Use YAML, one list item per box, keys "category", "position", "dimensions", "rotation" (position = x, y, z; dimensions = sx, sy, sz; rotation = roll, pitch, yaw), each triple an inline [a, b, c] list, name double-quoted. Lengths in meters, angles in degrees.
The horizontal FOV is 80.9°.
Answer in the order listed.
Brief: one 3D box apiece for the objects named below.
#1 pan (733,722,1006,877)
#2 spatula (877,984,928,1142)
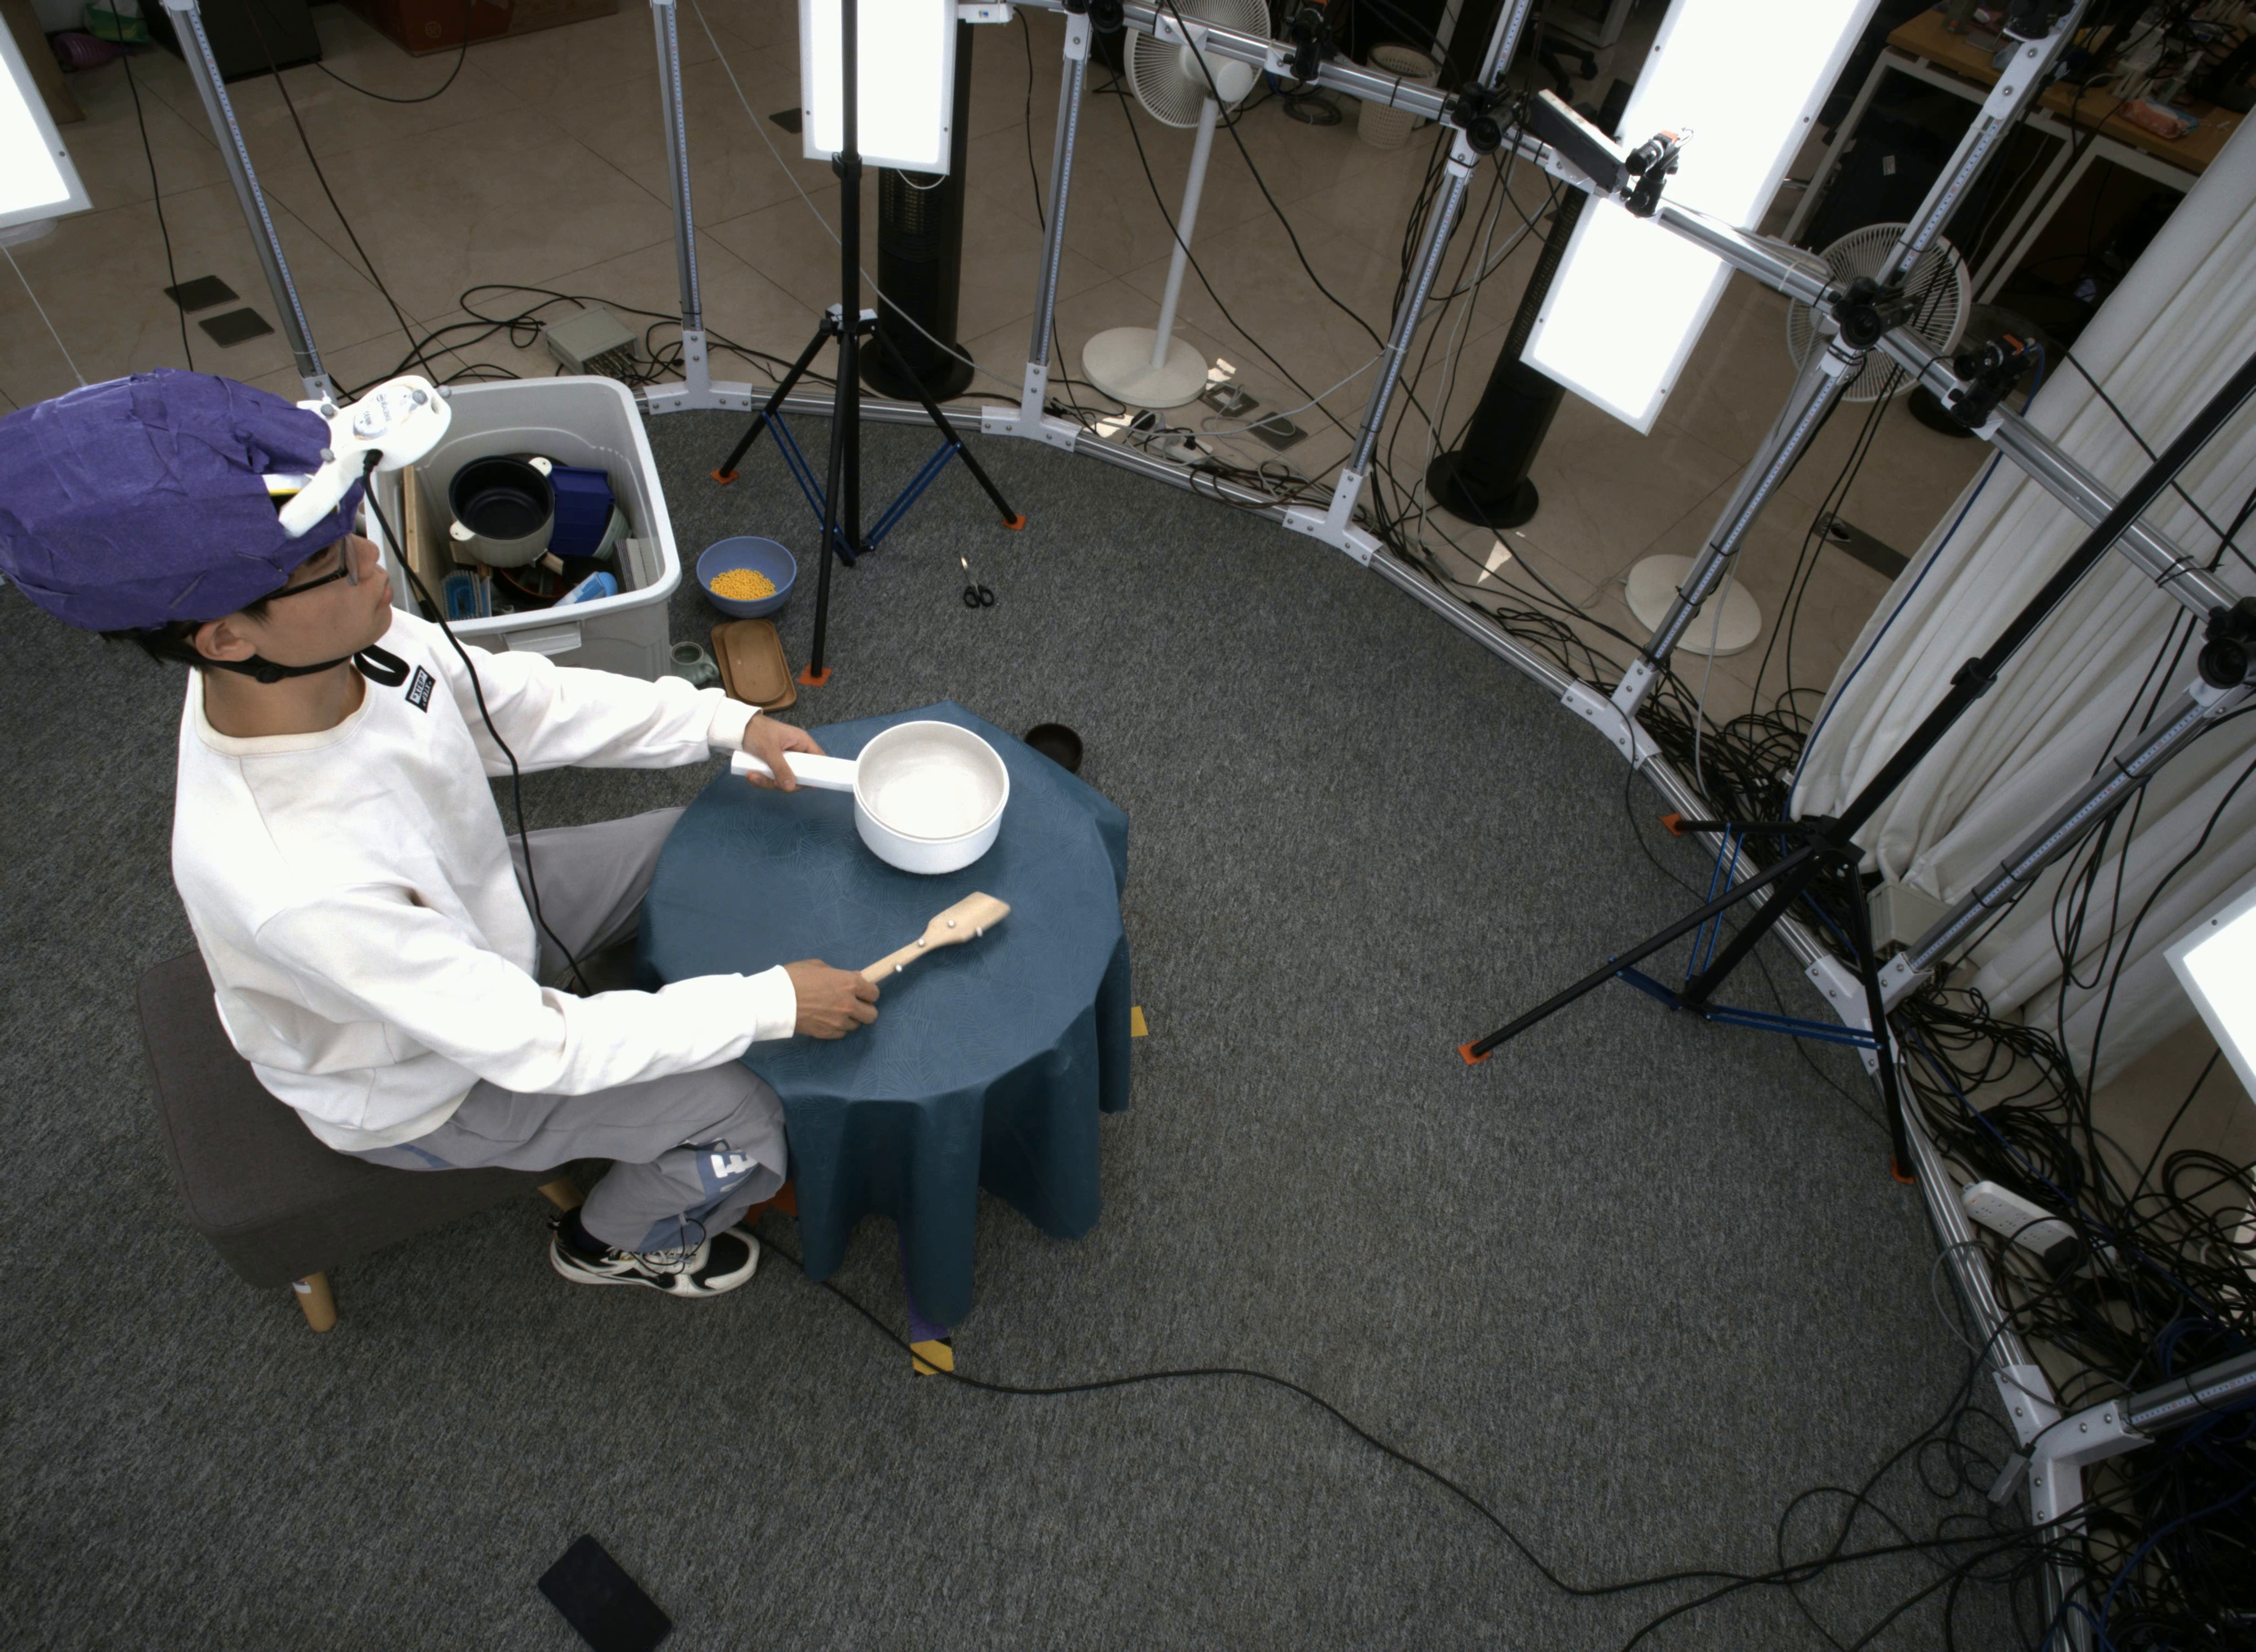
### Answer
- category: "pan"
  position: [-0.340, -0.039, 1.725]
  dimensions: [0.353, 0.104, 0.198]
  rotation: [6, 56, -7]
- category: "spatula"
  position: [-0.389, 0.384, 2.164]
  dimensions: [0.072, 0.011, 0.286]
  rotation: [-6, 55, -15]
